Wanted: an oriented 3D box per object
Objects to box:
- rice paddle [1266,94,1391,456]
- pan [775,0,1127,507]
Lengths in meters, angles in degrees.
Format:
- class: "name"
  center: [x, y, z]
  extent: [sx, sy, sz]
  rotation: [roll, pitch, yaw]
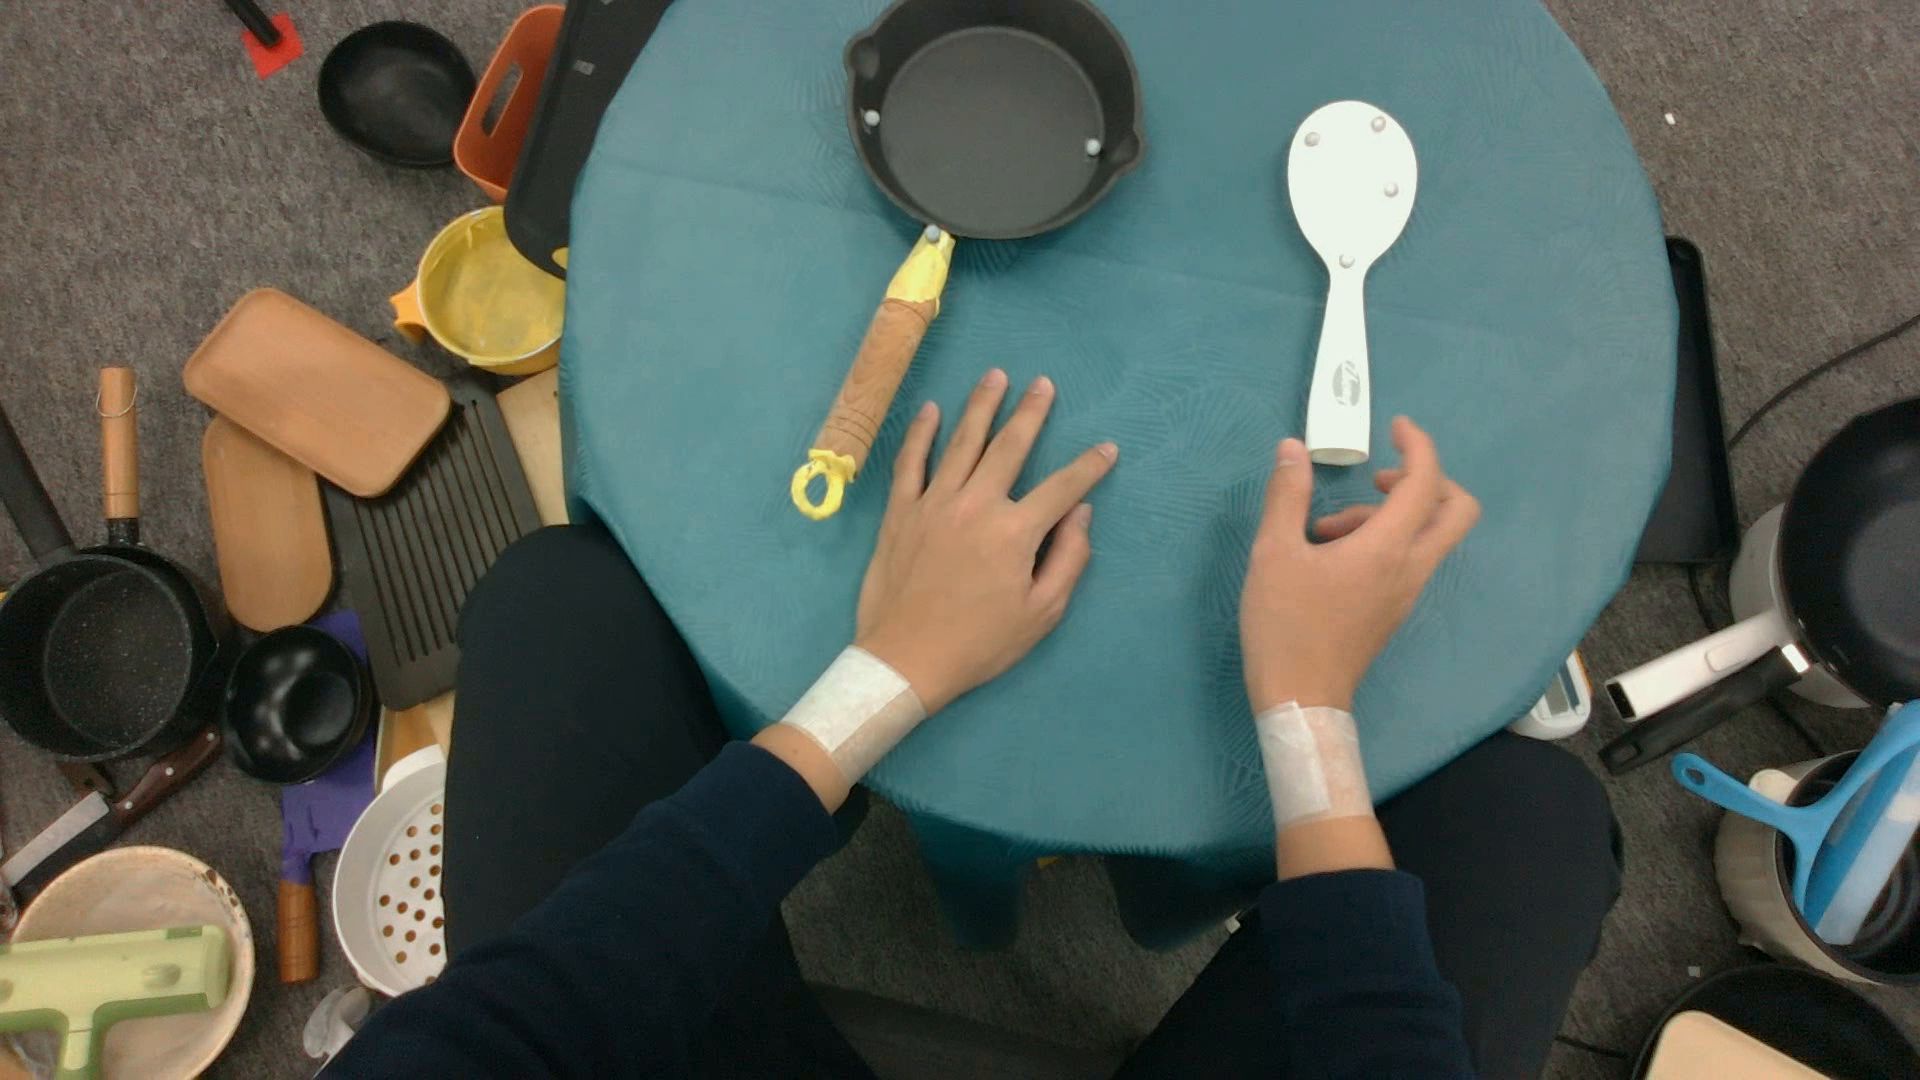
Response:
- class: "rice paddle"
  center: [0.195, -0.147, 0.733]
  extent: [0.069, 0.029, 0.205]
  rotation: [5, 77, -2]
- class: "pan"
  center: [-0.023, -0.161, 0.719]
  extent: [0.169, 0.049, 0.325]
  rotation: [23, 76, 3]
